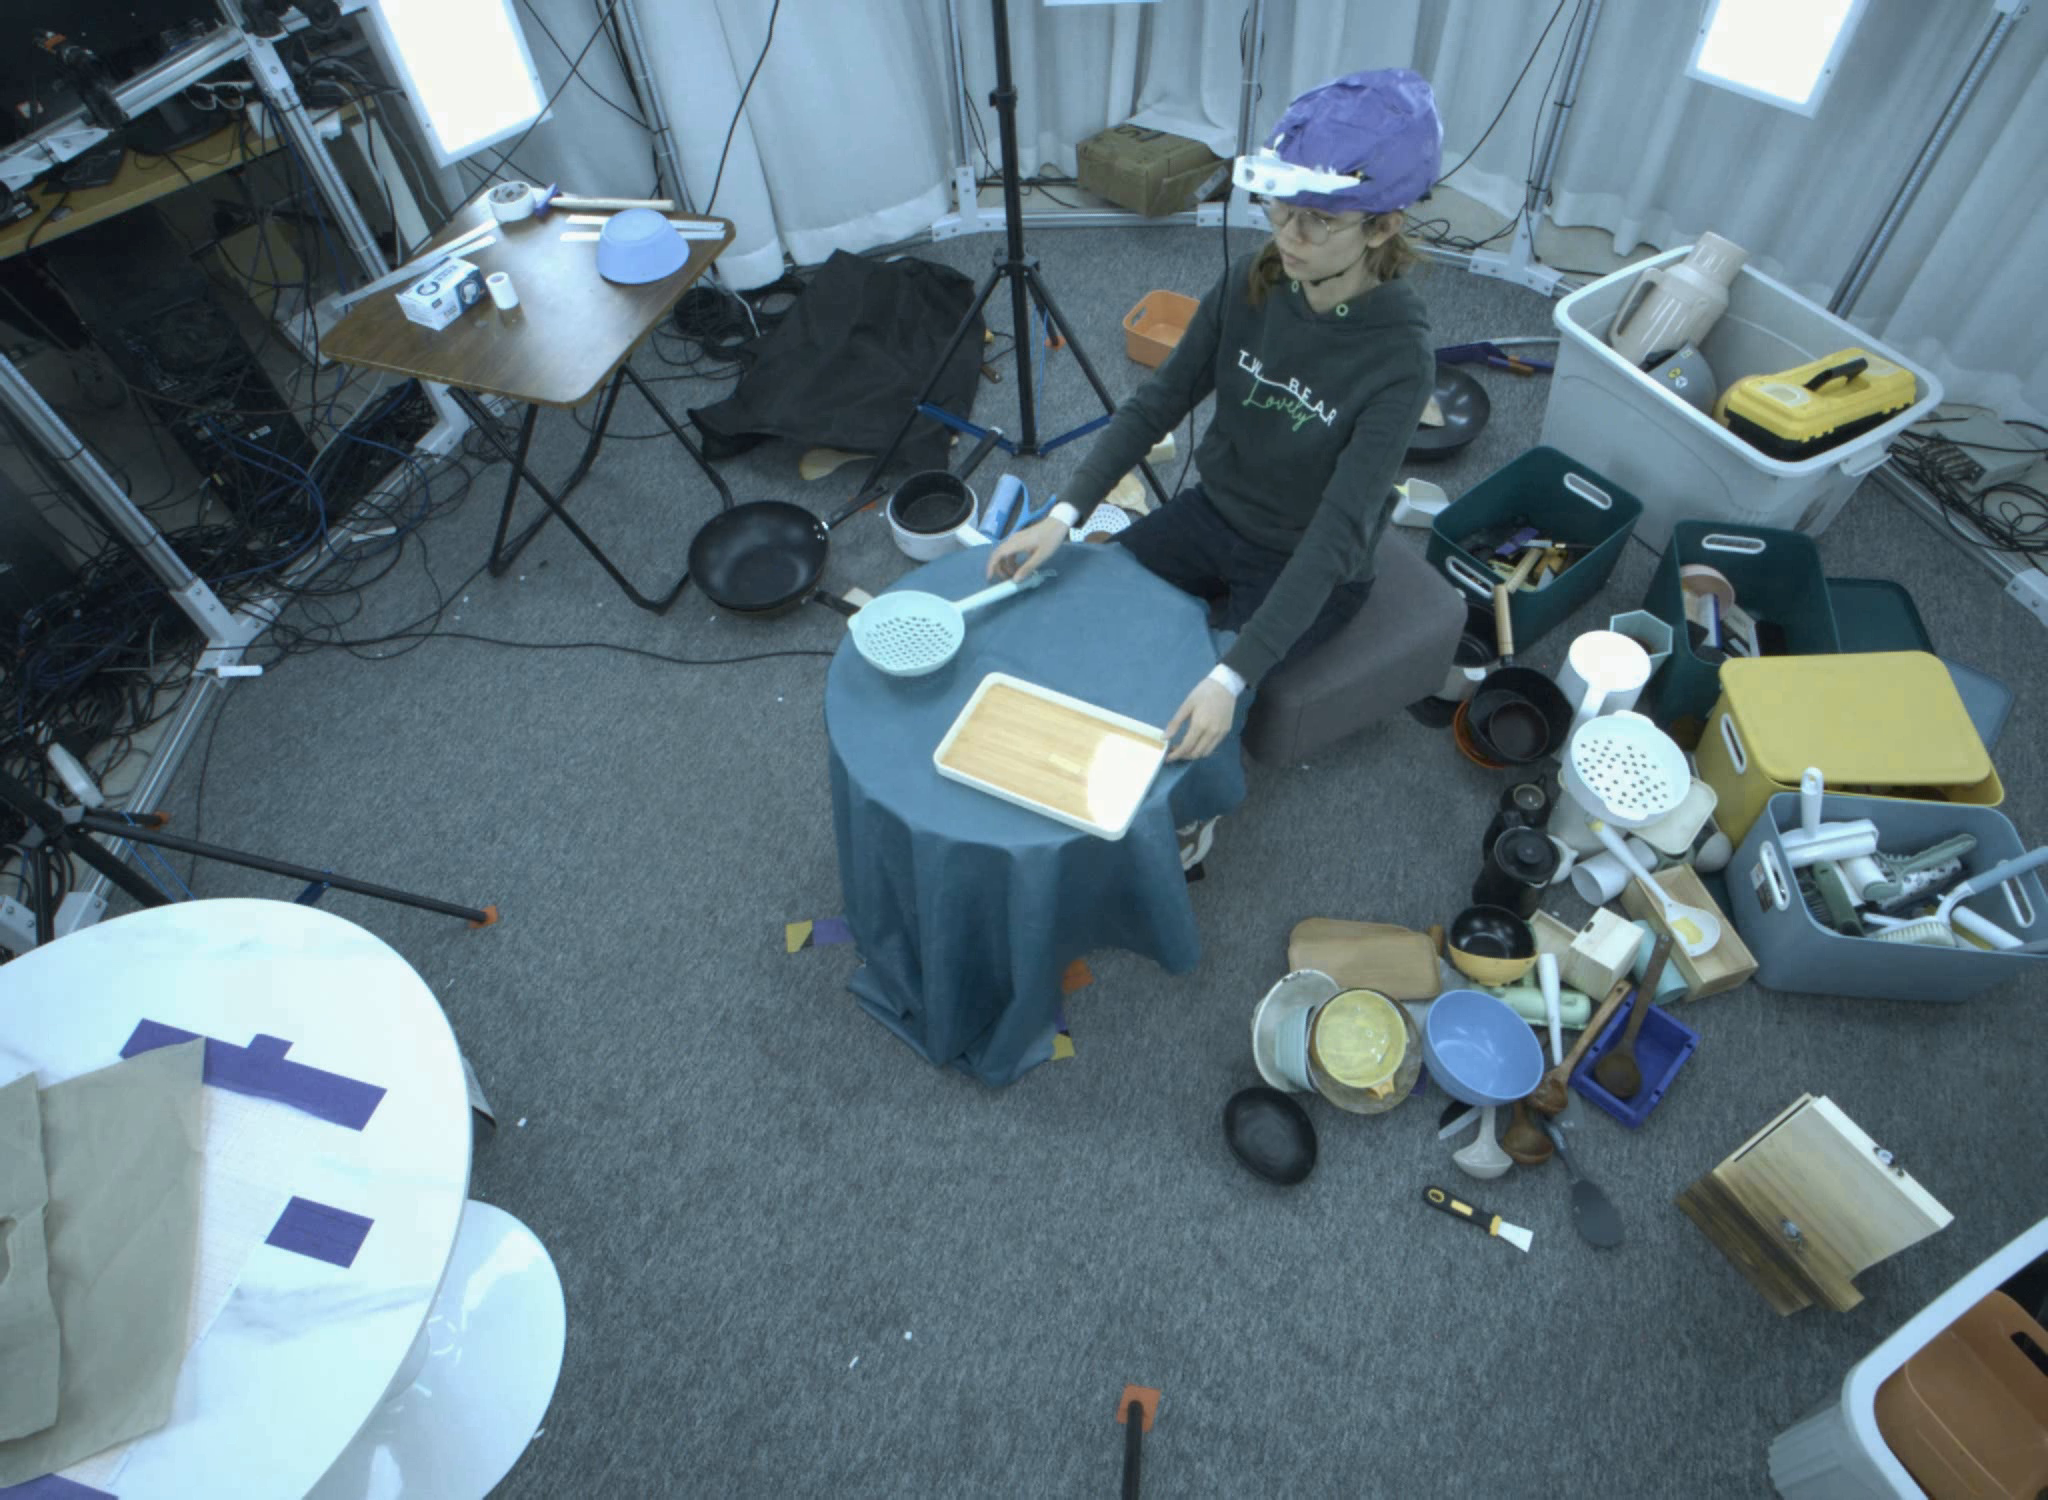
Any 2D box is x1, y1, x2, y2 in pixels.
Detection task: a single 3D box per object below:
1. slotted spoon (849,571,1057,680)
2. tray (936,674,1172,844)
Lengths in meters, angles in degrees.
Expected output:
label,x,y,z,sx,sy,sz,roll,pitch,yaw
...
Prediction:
label,x,y,z,sx,sy,sz,roll,pitch,yaw
slotted spoon,-0.097,-0.213,1.911,0.361,0.076,0.166,-32,60,-19
tray,0.043,0.008,1.775,0.297,0.028,0.192,21,58,15
